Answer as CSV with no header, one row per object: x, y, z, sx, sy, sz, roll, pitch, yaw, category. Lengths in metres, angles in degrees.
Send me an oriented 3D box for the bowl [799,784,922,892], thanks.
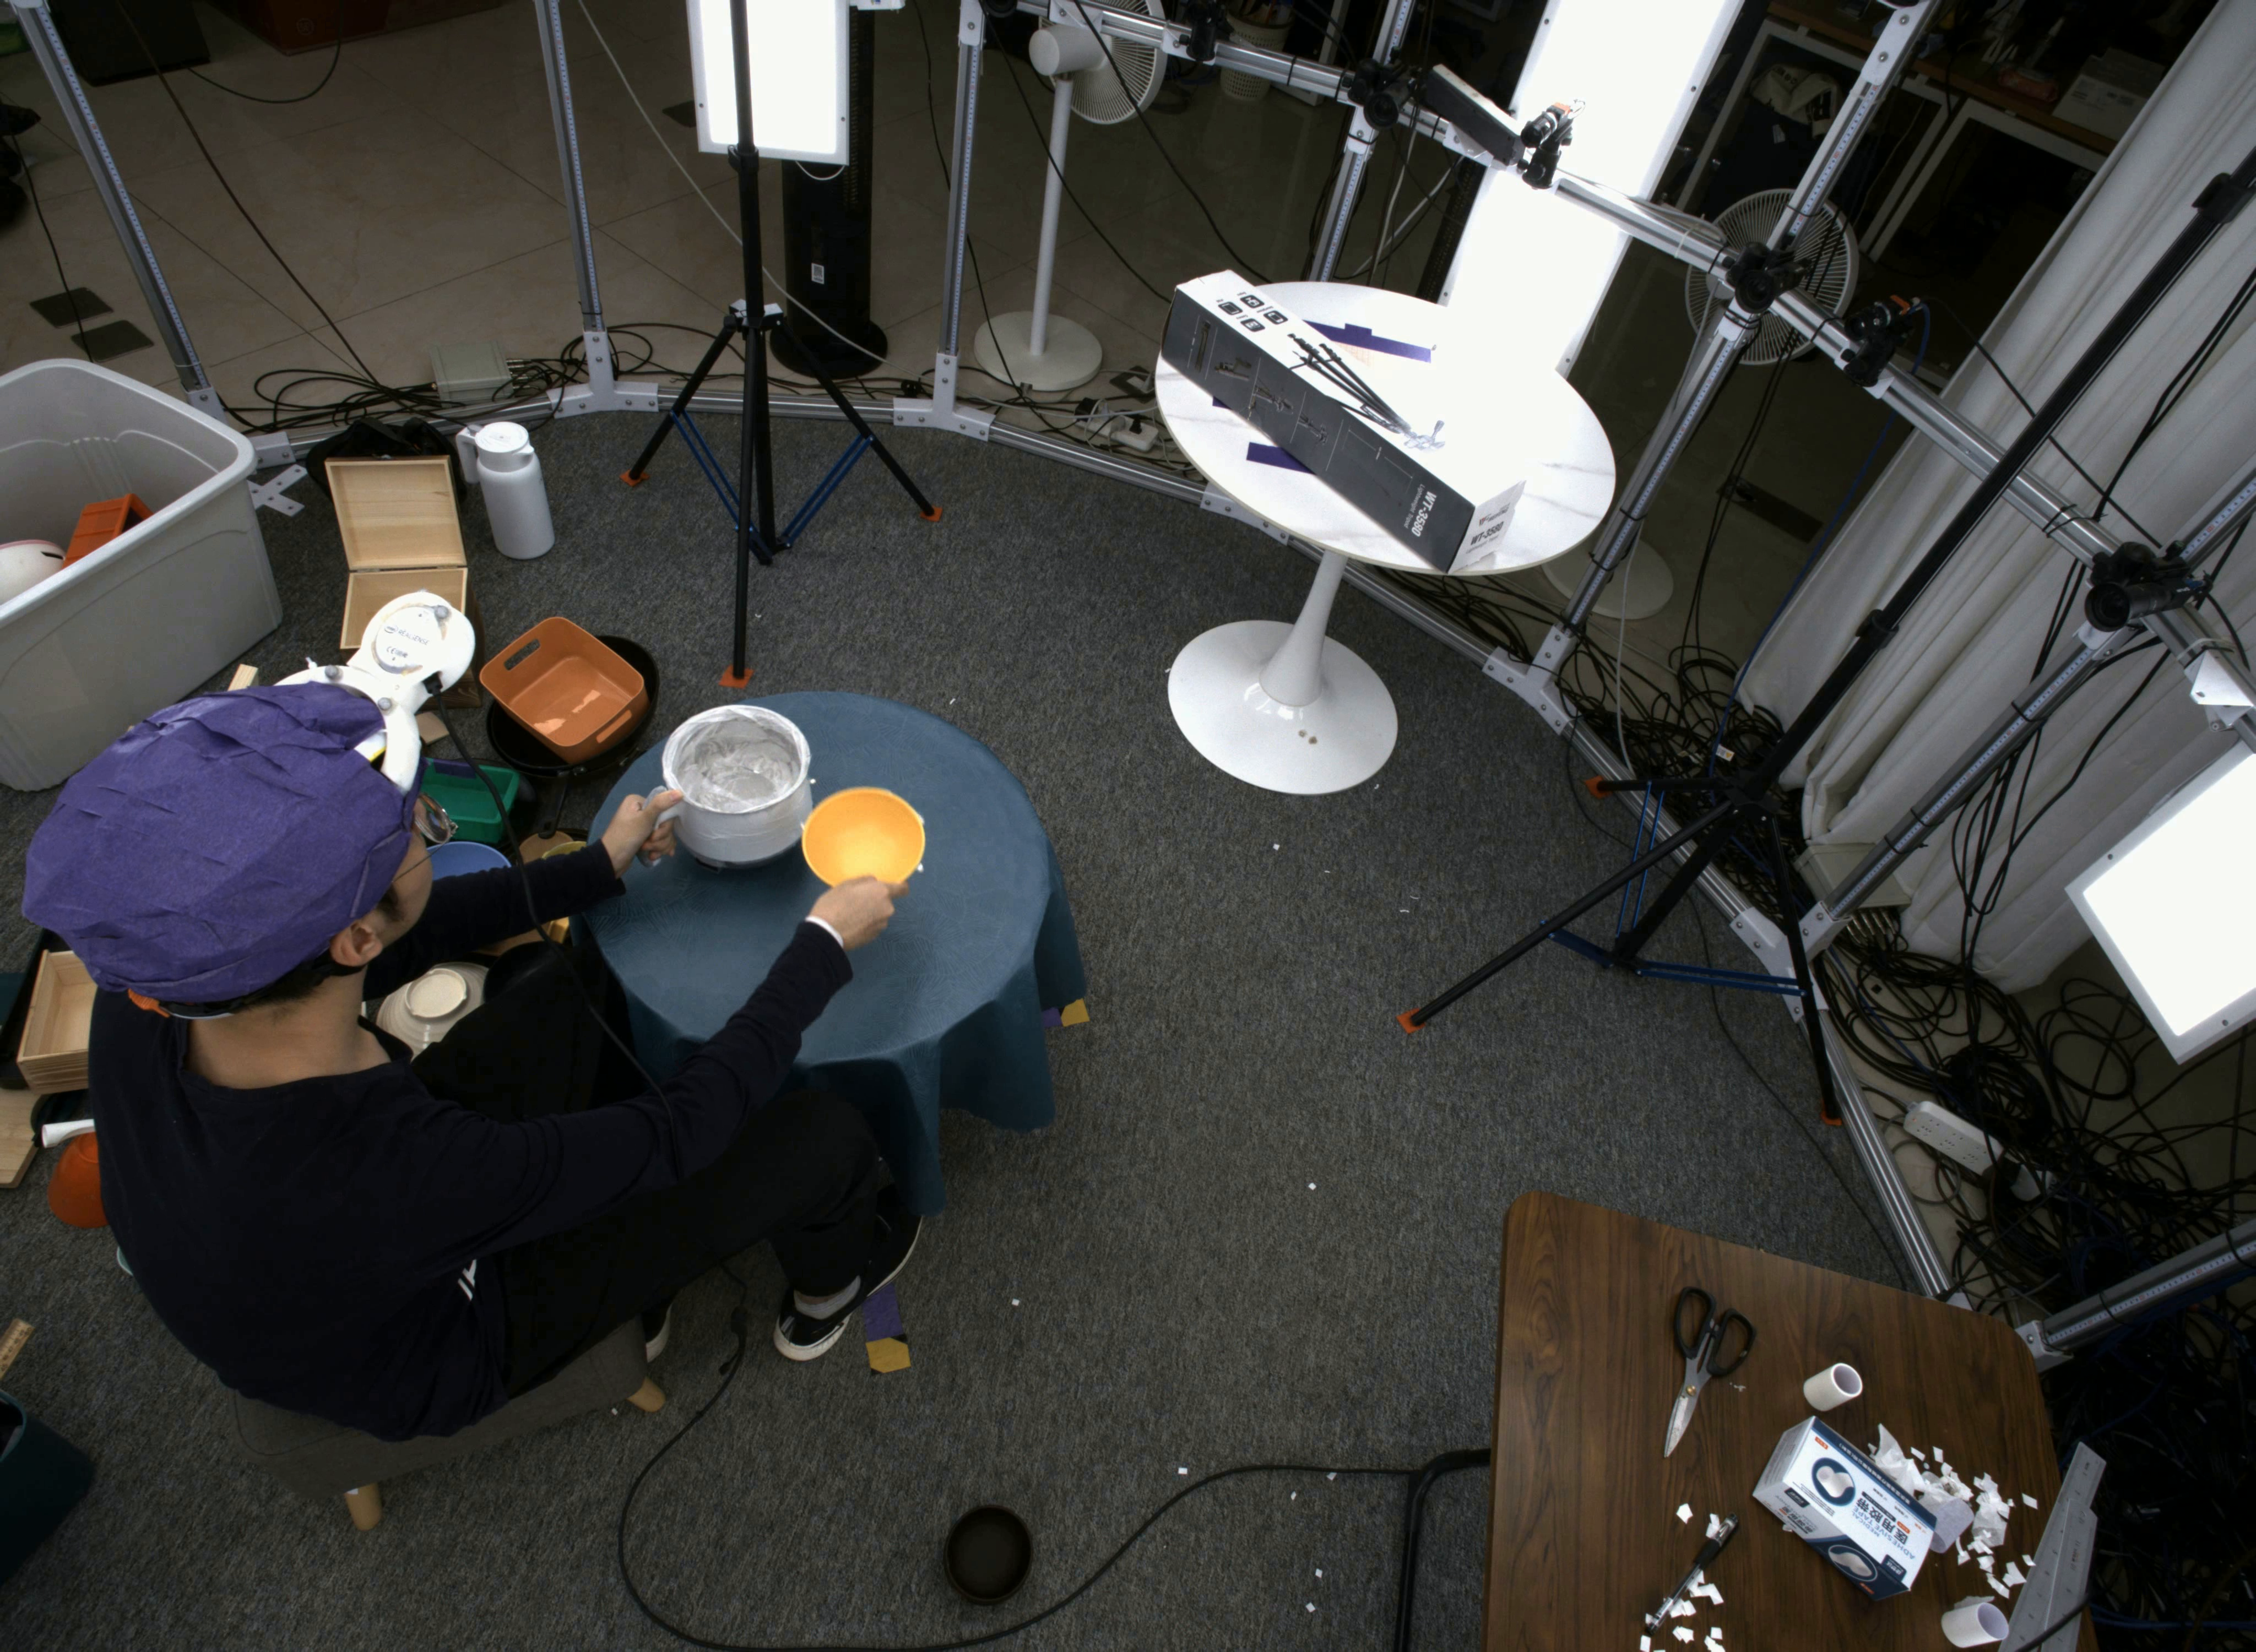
-0.321,0.024,1.568,0.145,0.061,0.143,5,58,-7,bowl

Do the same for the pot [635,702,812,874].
-0.511,-0.035,1.616,0.234,0.140,0.174,-31,62,-32,pot
